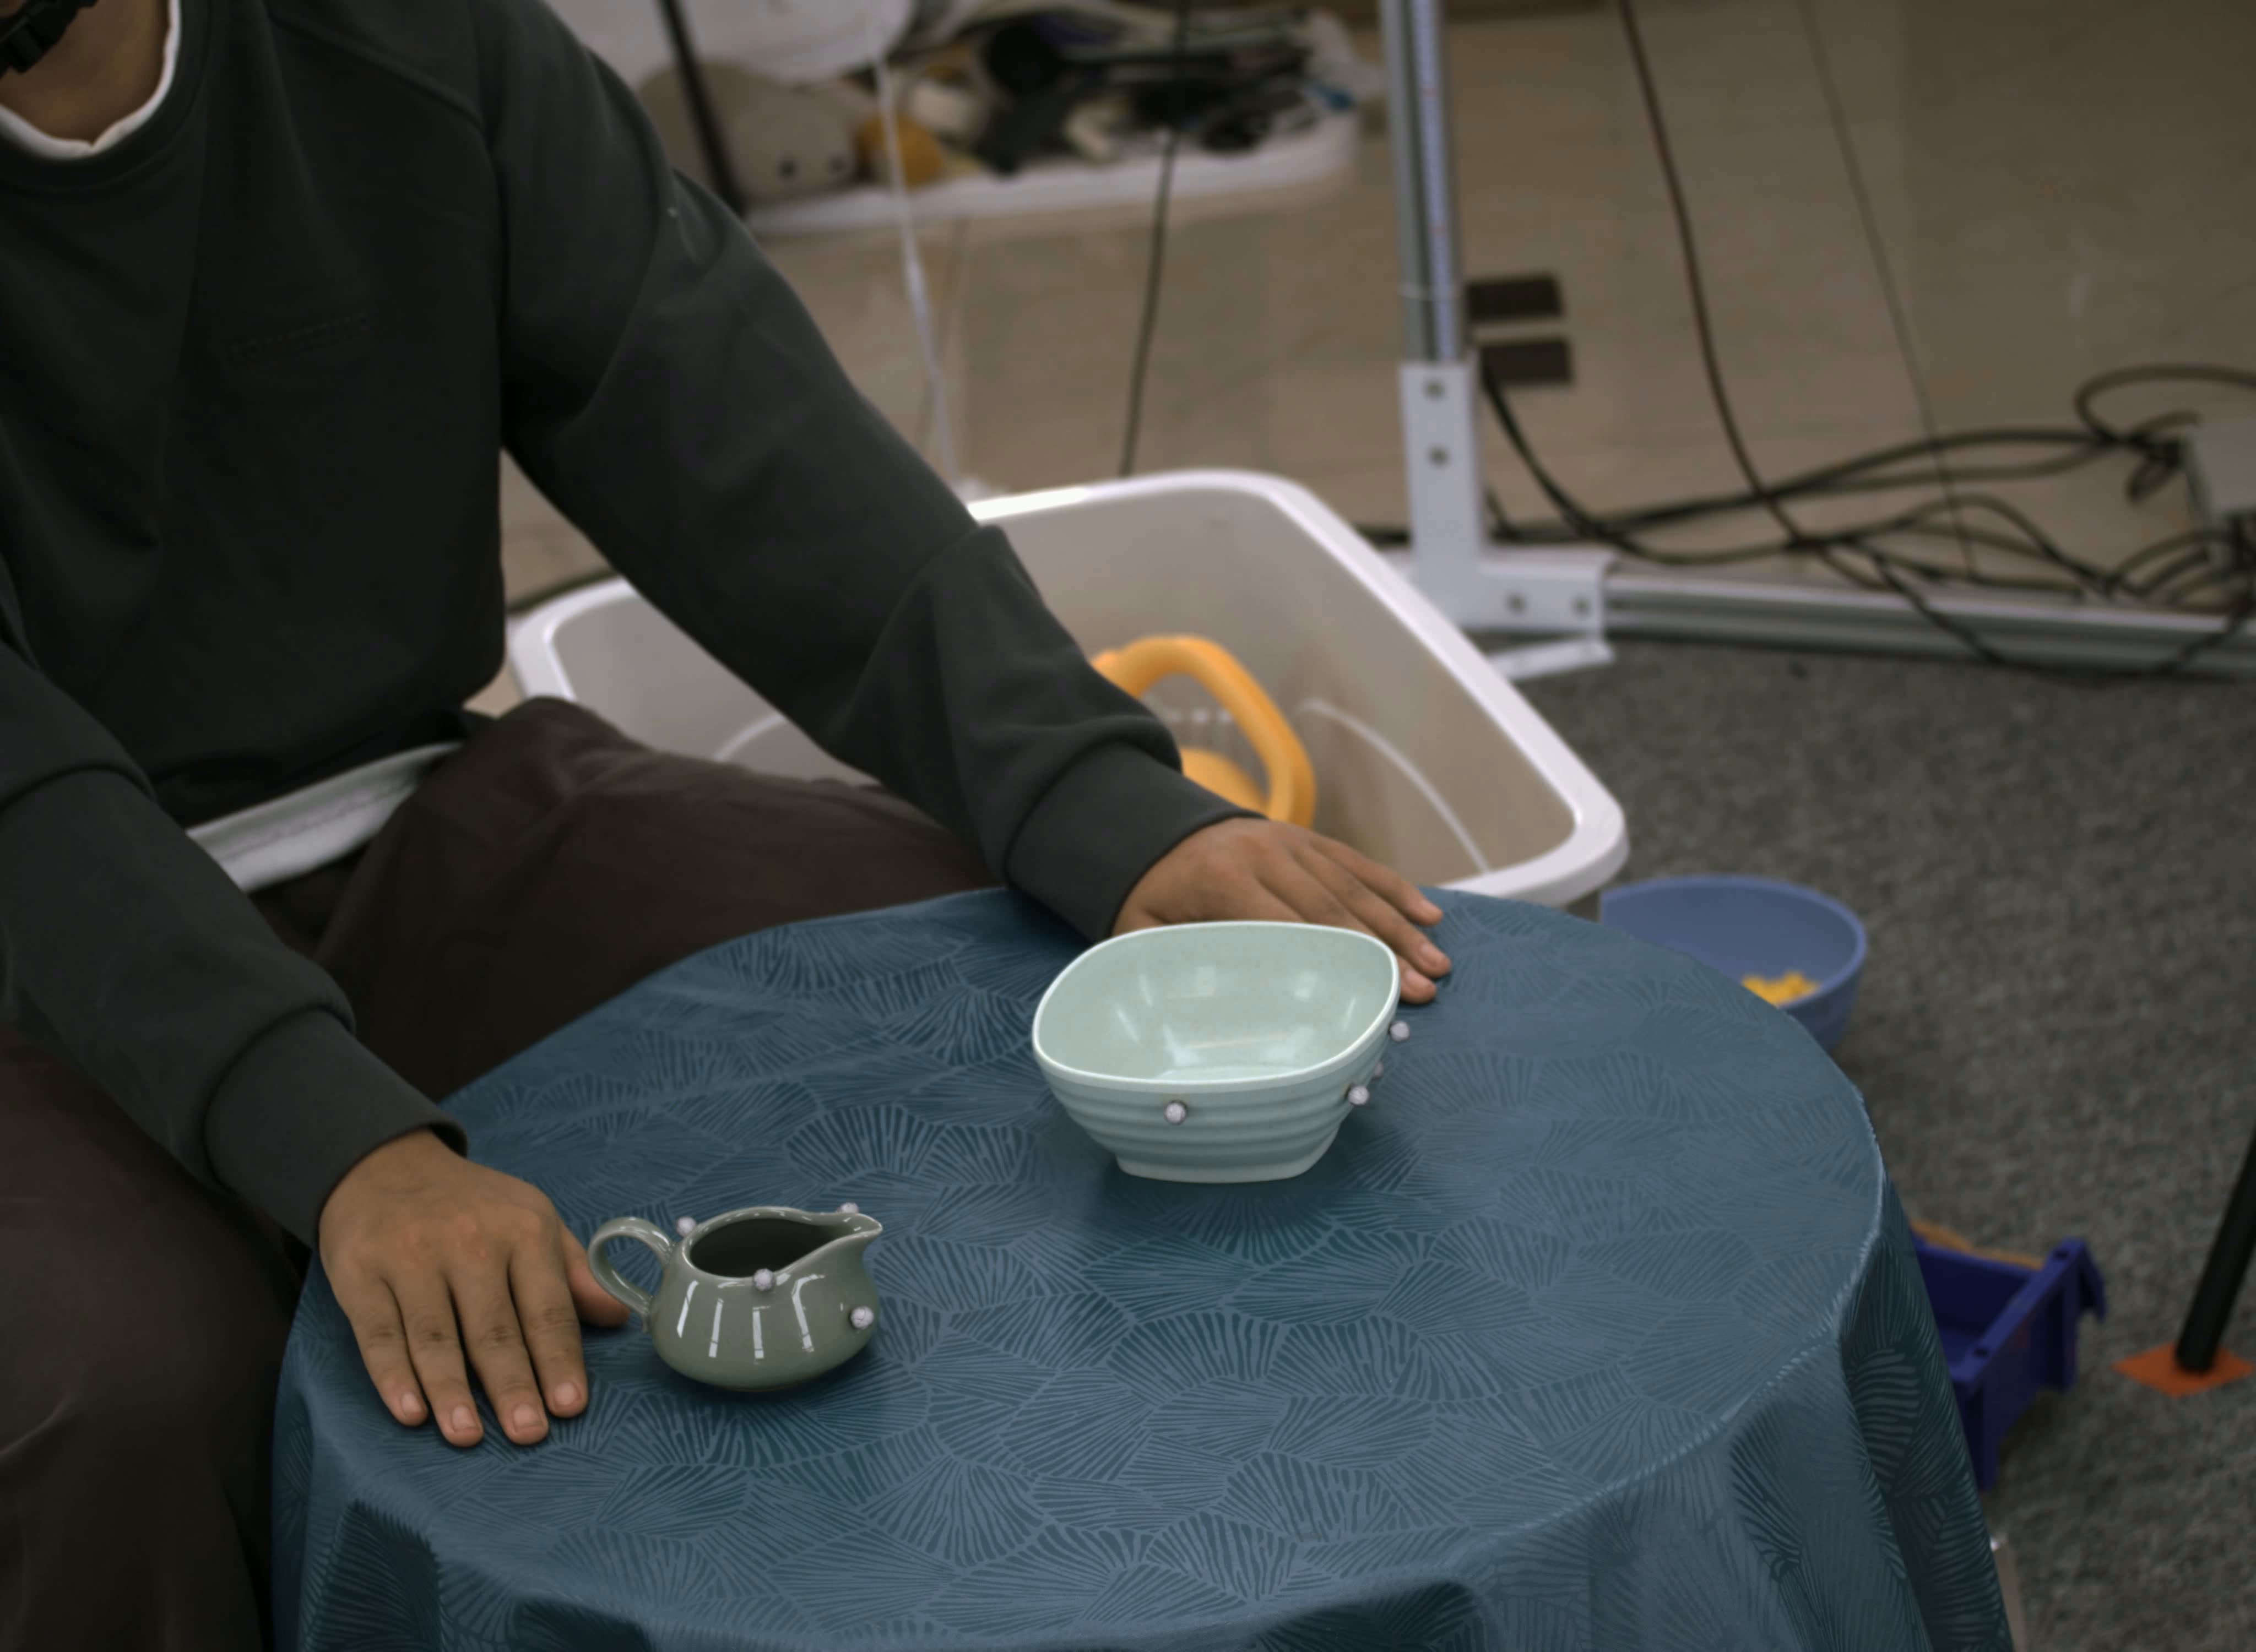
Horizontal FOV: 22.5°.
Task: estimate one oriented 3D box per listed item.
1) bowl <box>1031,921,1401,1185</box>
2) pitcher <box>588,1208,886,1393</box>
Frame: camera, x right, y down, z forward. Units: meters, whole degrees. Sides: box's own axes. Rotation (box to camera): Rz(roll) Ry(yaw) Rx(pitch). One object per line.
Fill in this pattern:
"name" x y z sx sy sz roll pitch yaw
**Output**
"bowl" 0.036 0.092 2.174 0.151 0.059 0.149 -4 26 2
"pitcher" -0.139 0.168 2.053 0.112 0.057 0.083 -2 25 12
